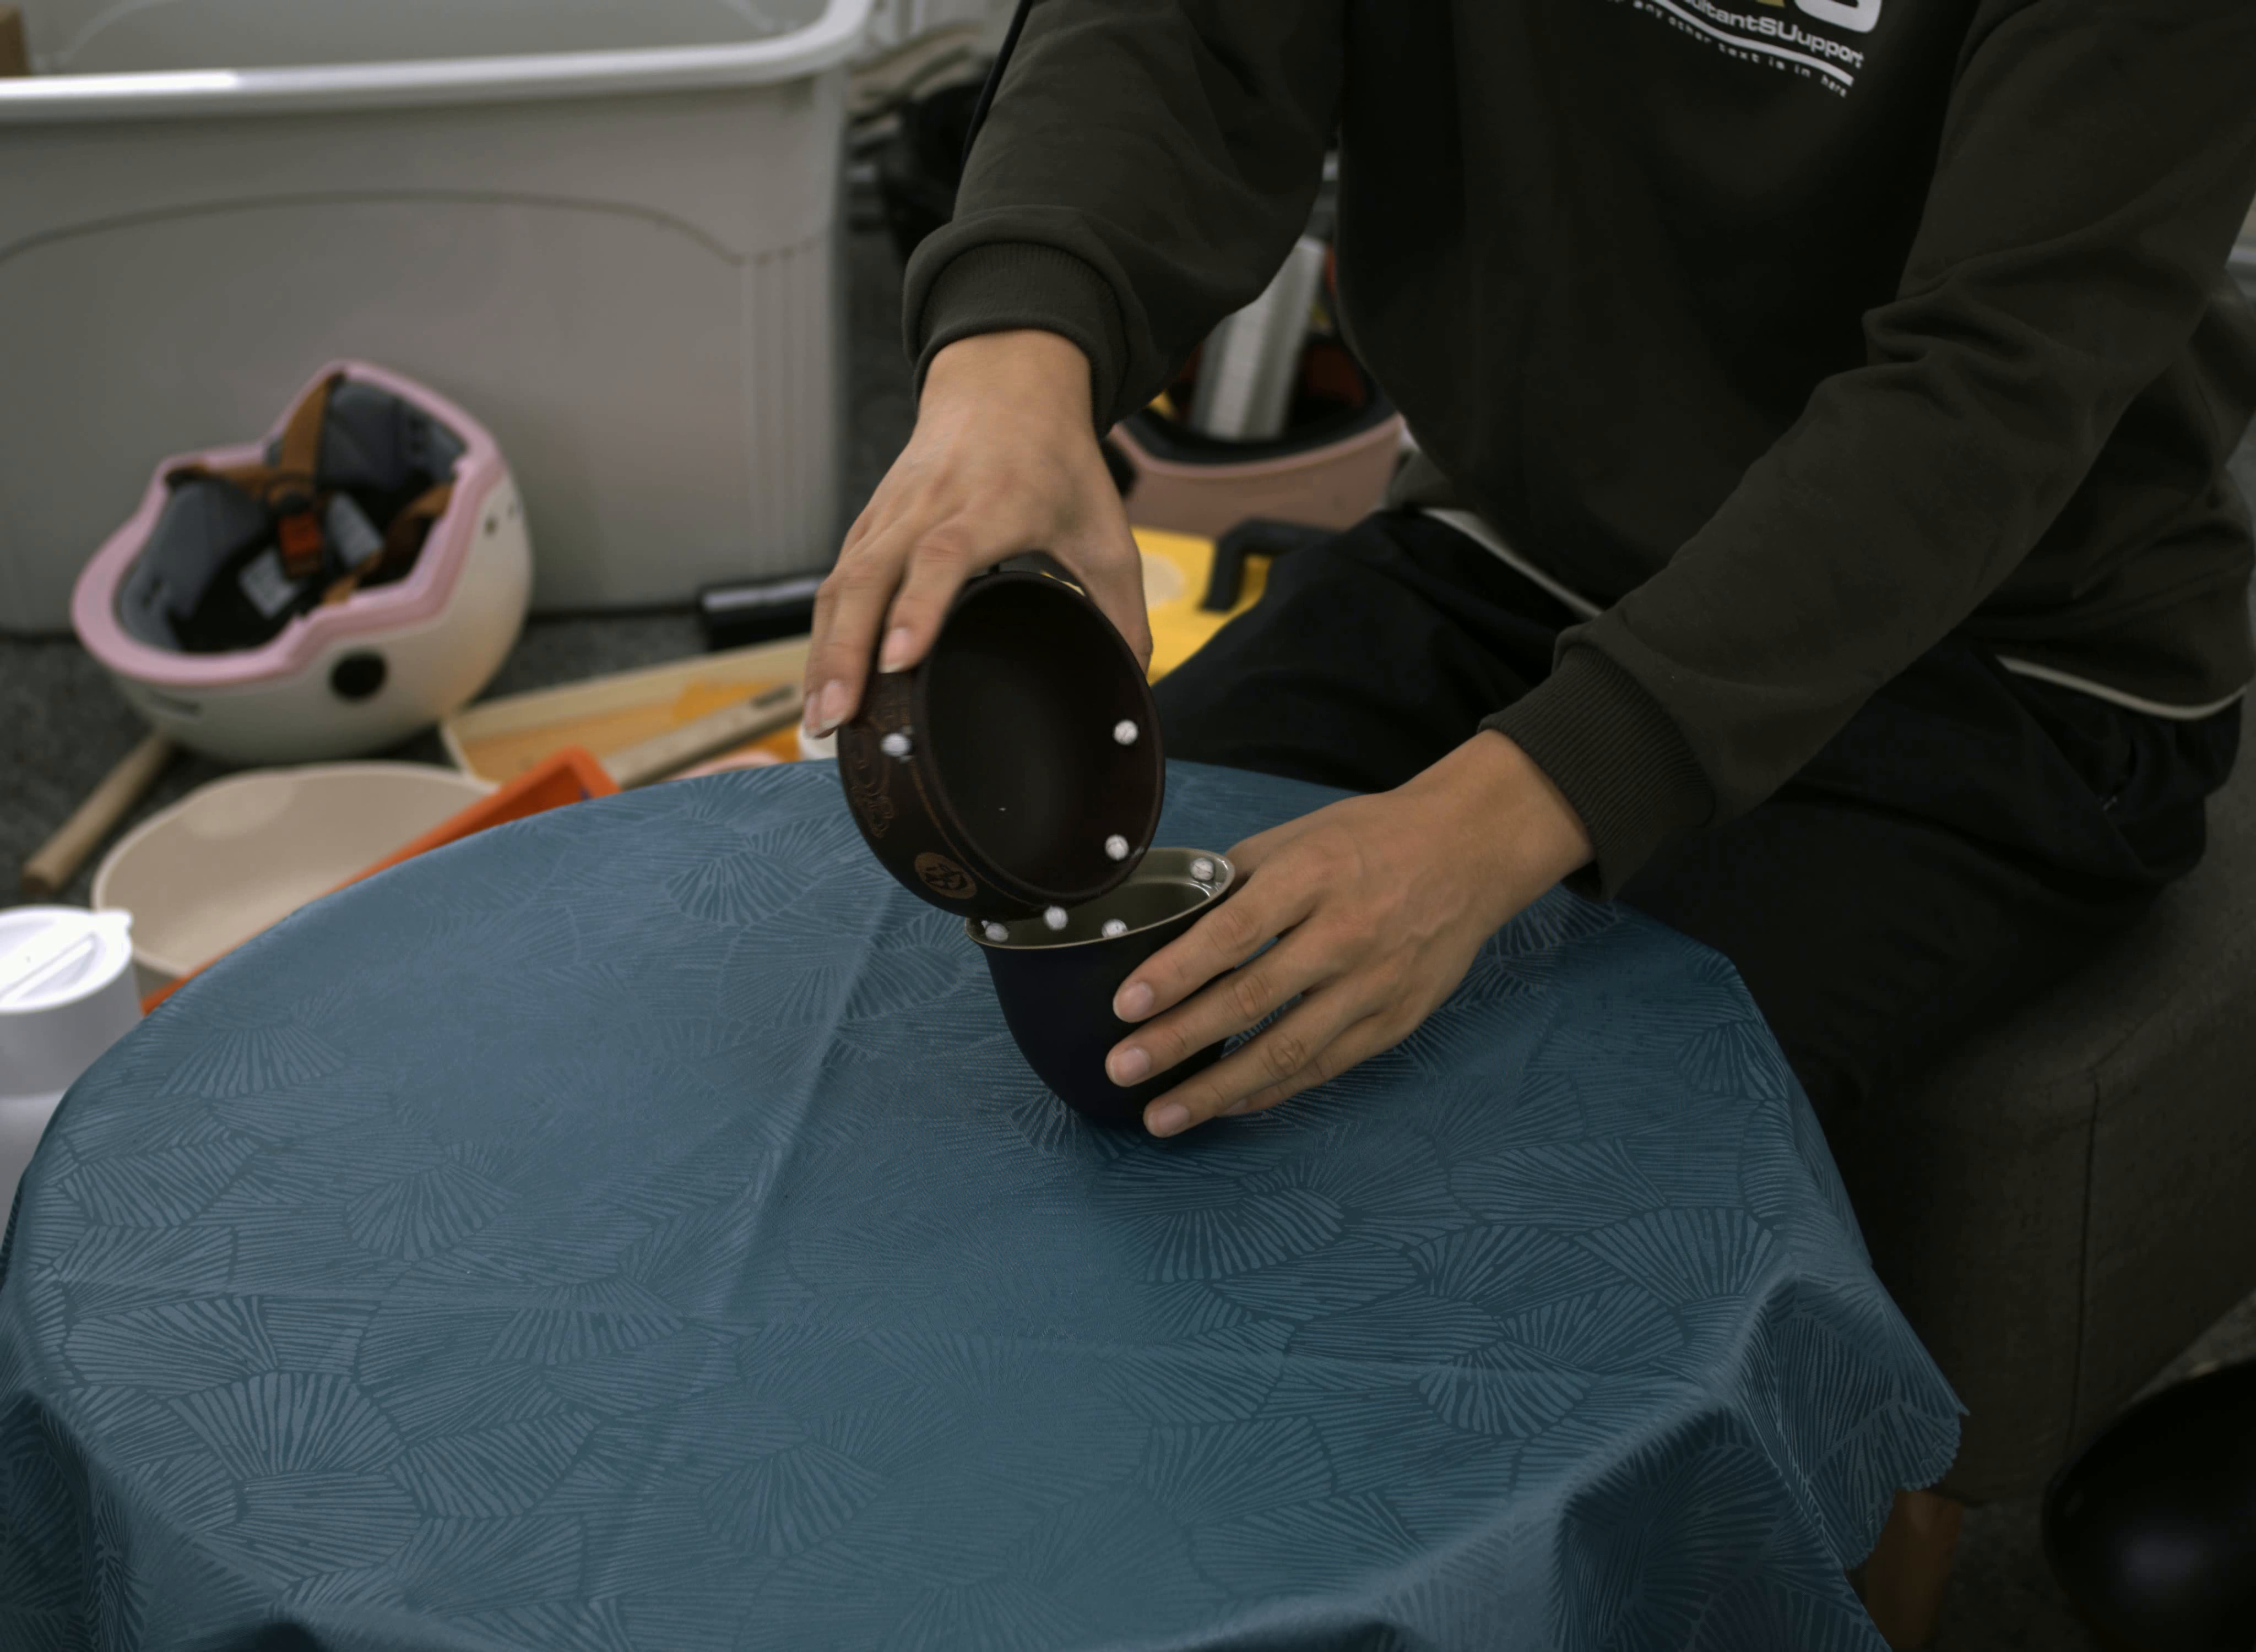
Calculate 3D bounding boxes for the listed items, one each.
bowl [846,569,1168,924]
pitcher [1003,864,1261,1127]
[{"bbox_3d":[-0.049,-0.023,1.898,0.069,0.118,0.120,-17,14,39],"label":"bowl"},{"bbox_3d":[0.003,0.059,1.906,0.085,0.071,0.095,-33,21,-34],"label":"pitcher"}]
